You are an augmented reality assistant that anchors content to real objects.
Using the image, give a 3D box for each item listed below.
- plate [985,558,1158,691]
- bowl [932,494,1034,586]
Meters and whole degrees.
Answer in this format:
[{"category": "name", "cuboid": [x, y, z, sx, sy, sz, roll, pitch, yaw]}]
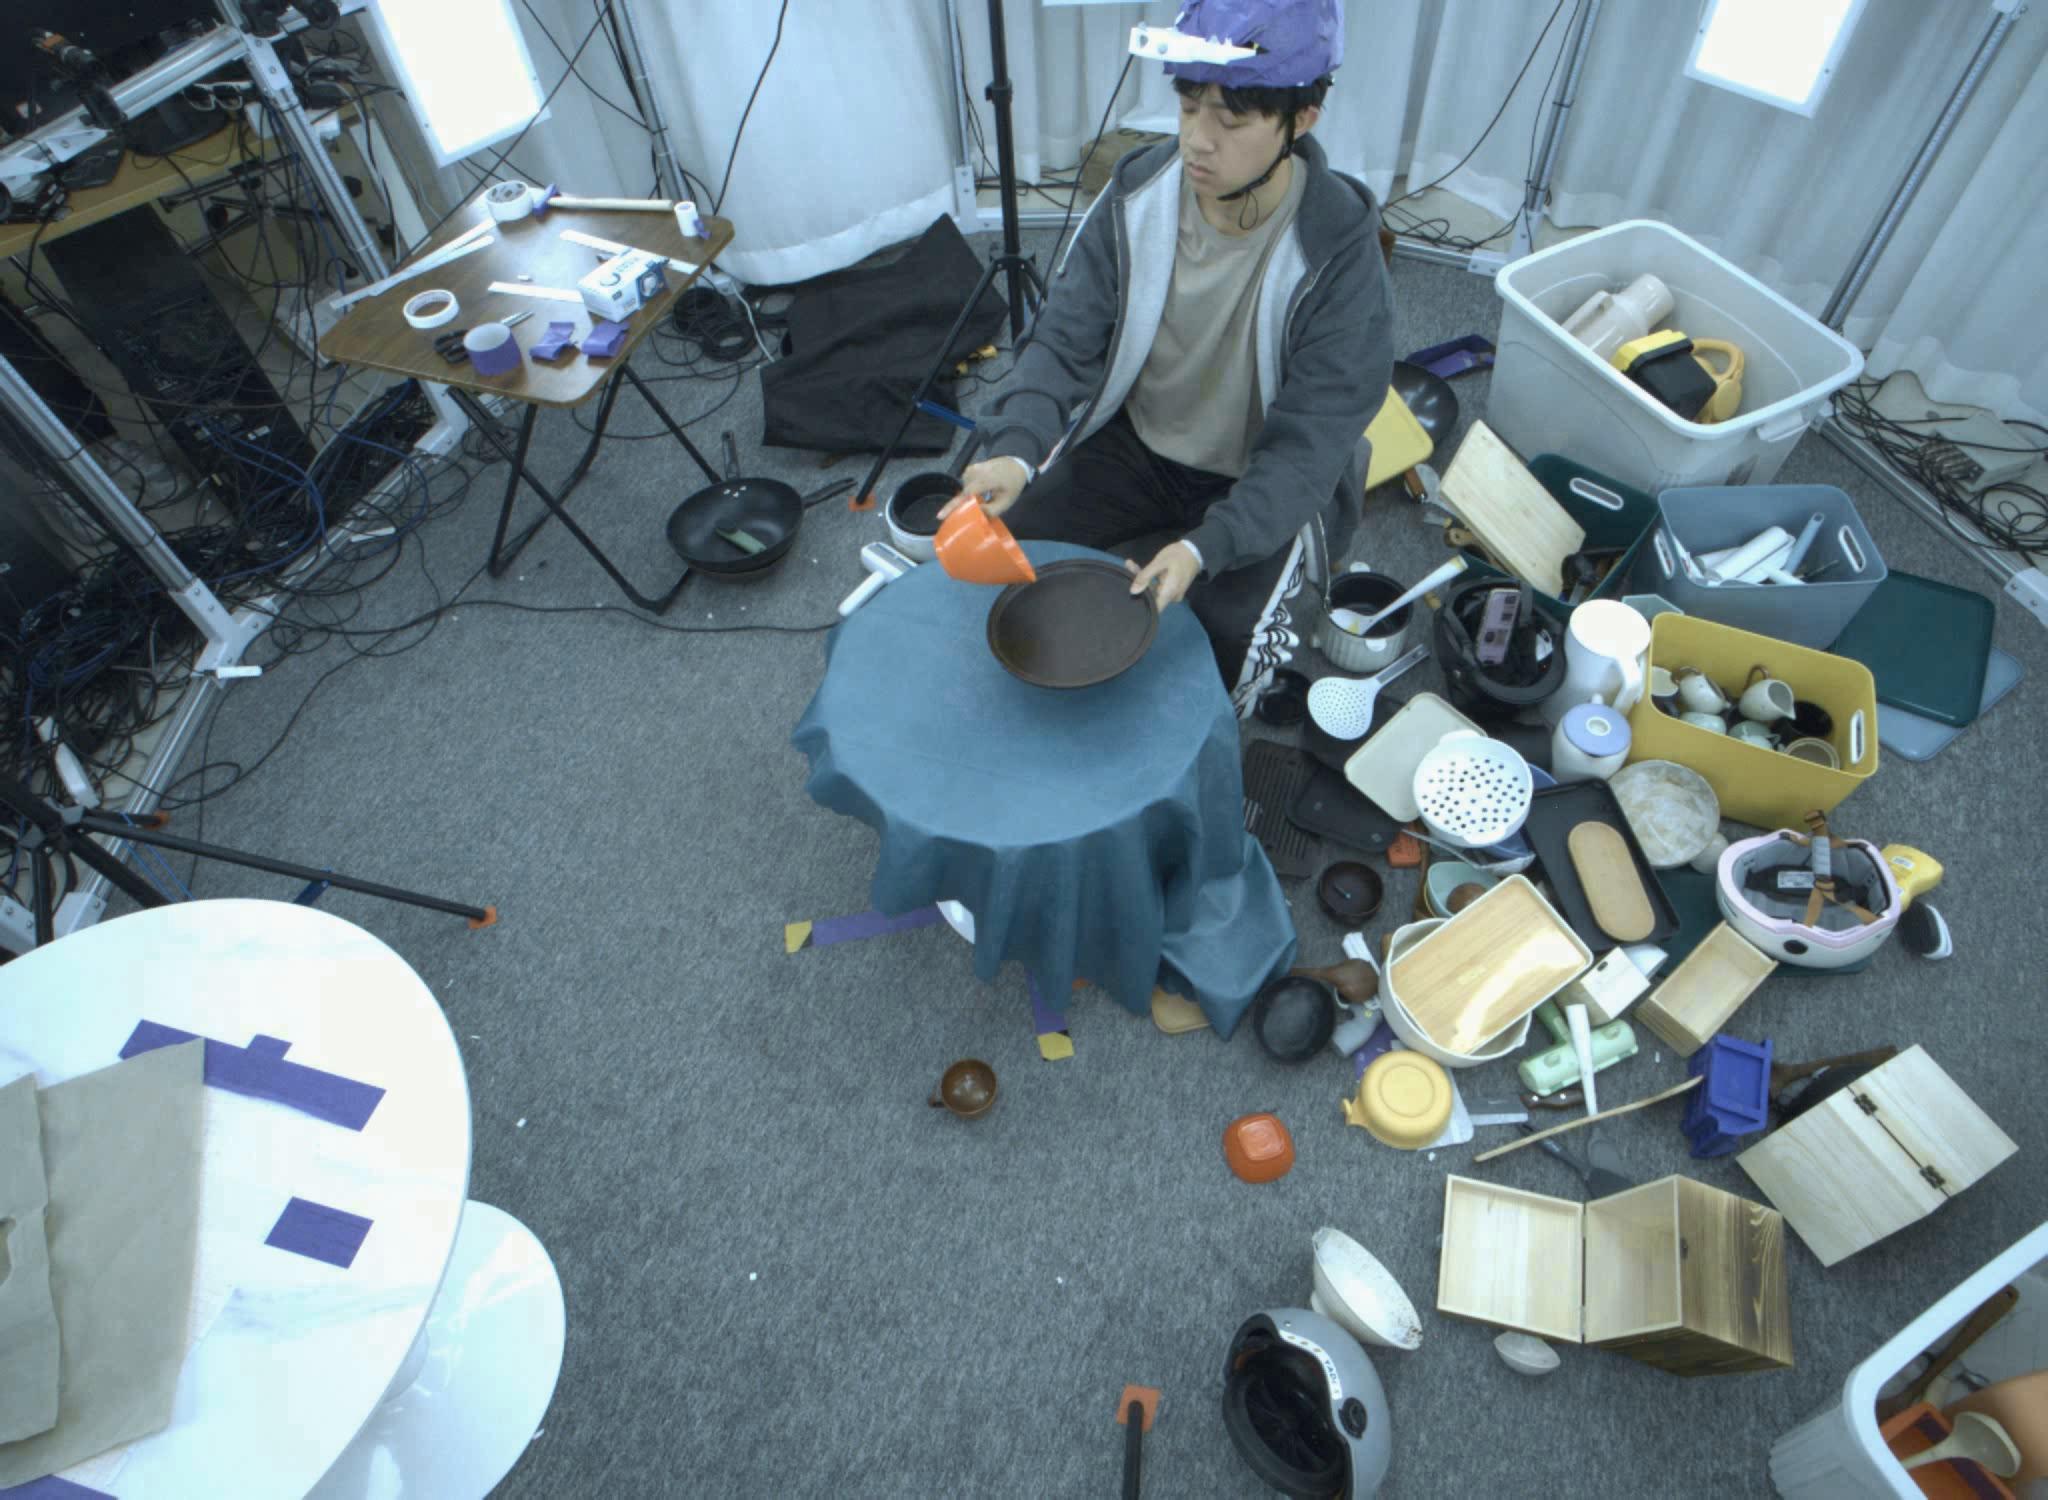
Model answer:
[{"category": "plate", "cuboid": [0.069, -0.184, 1.793, 0.254, 0.029, 0.252, -4, 53, 6]}, {"category": "bowl", "cuboid": [-0.065, -0.277, 1.701, 0.104, 0.151, 0.146, -24, 54, 15]}]
